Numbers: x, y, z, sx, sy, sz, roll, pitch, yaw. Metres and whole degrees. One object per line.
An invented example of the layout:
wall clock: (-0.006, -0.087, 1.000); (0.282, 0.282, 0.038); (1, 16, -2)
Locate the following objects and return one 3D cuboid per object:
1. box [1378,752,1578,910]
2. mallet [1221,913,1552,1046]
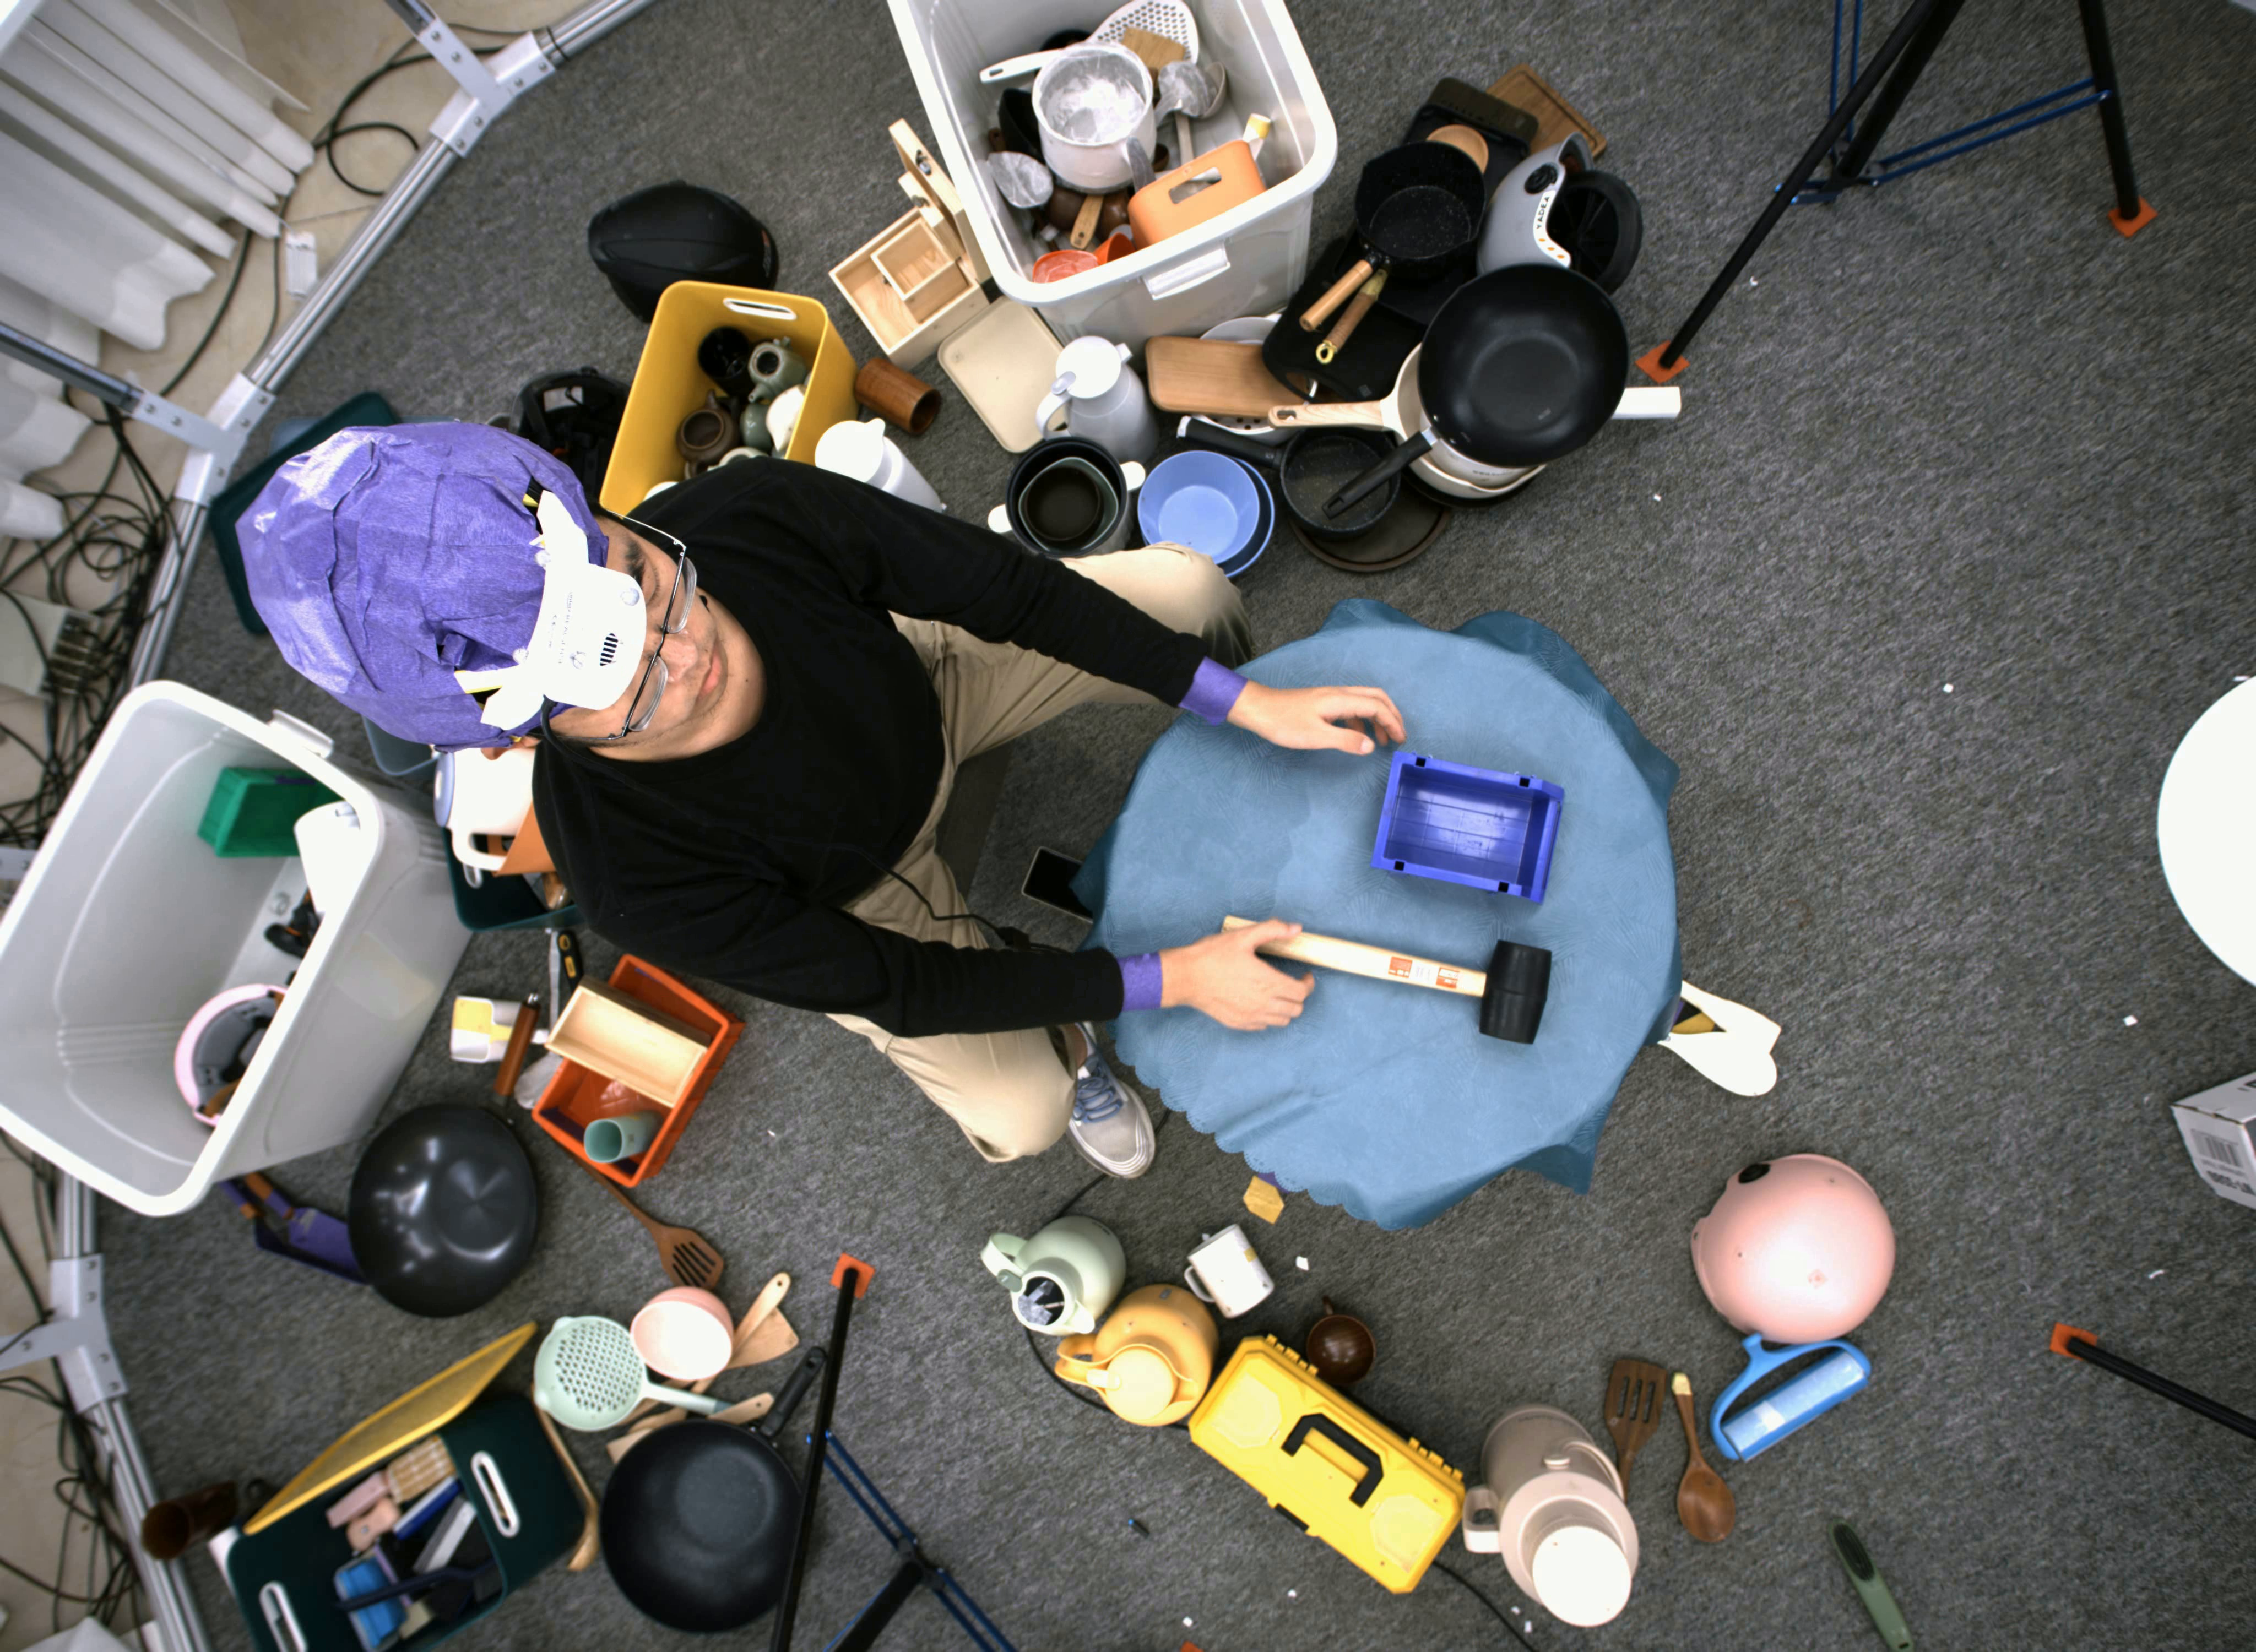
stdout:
box: (0.359, 0.002, 1.406); (0.179, 0.082, 0.124); (13, 89, 14)
mallet: (0.262, 0.140, 1.429); (0.339, 0.064, 0.101); (12, 89, 12)
